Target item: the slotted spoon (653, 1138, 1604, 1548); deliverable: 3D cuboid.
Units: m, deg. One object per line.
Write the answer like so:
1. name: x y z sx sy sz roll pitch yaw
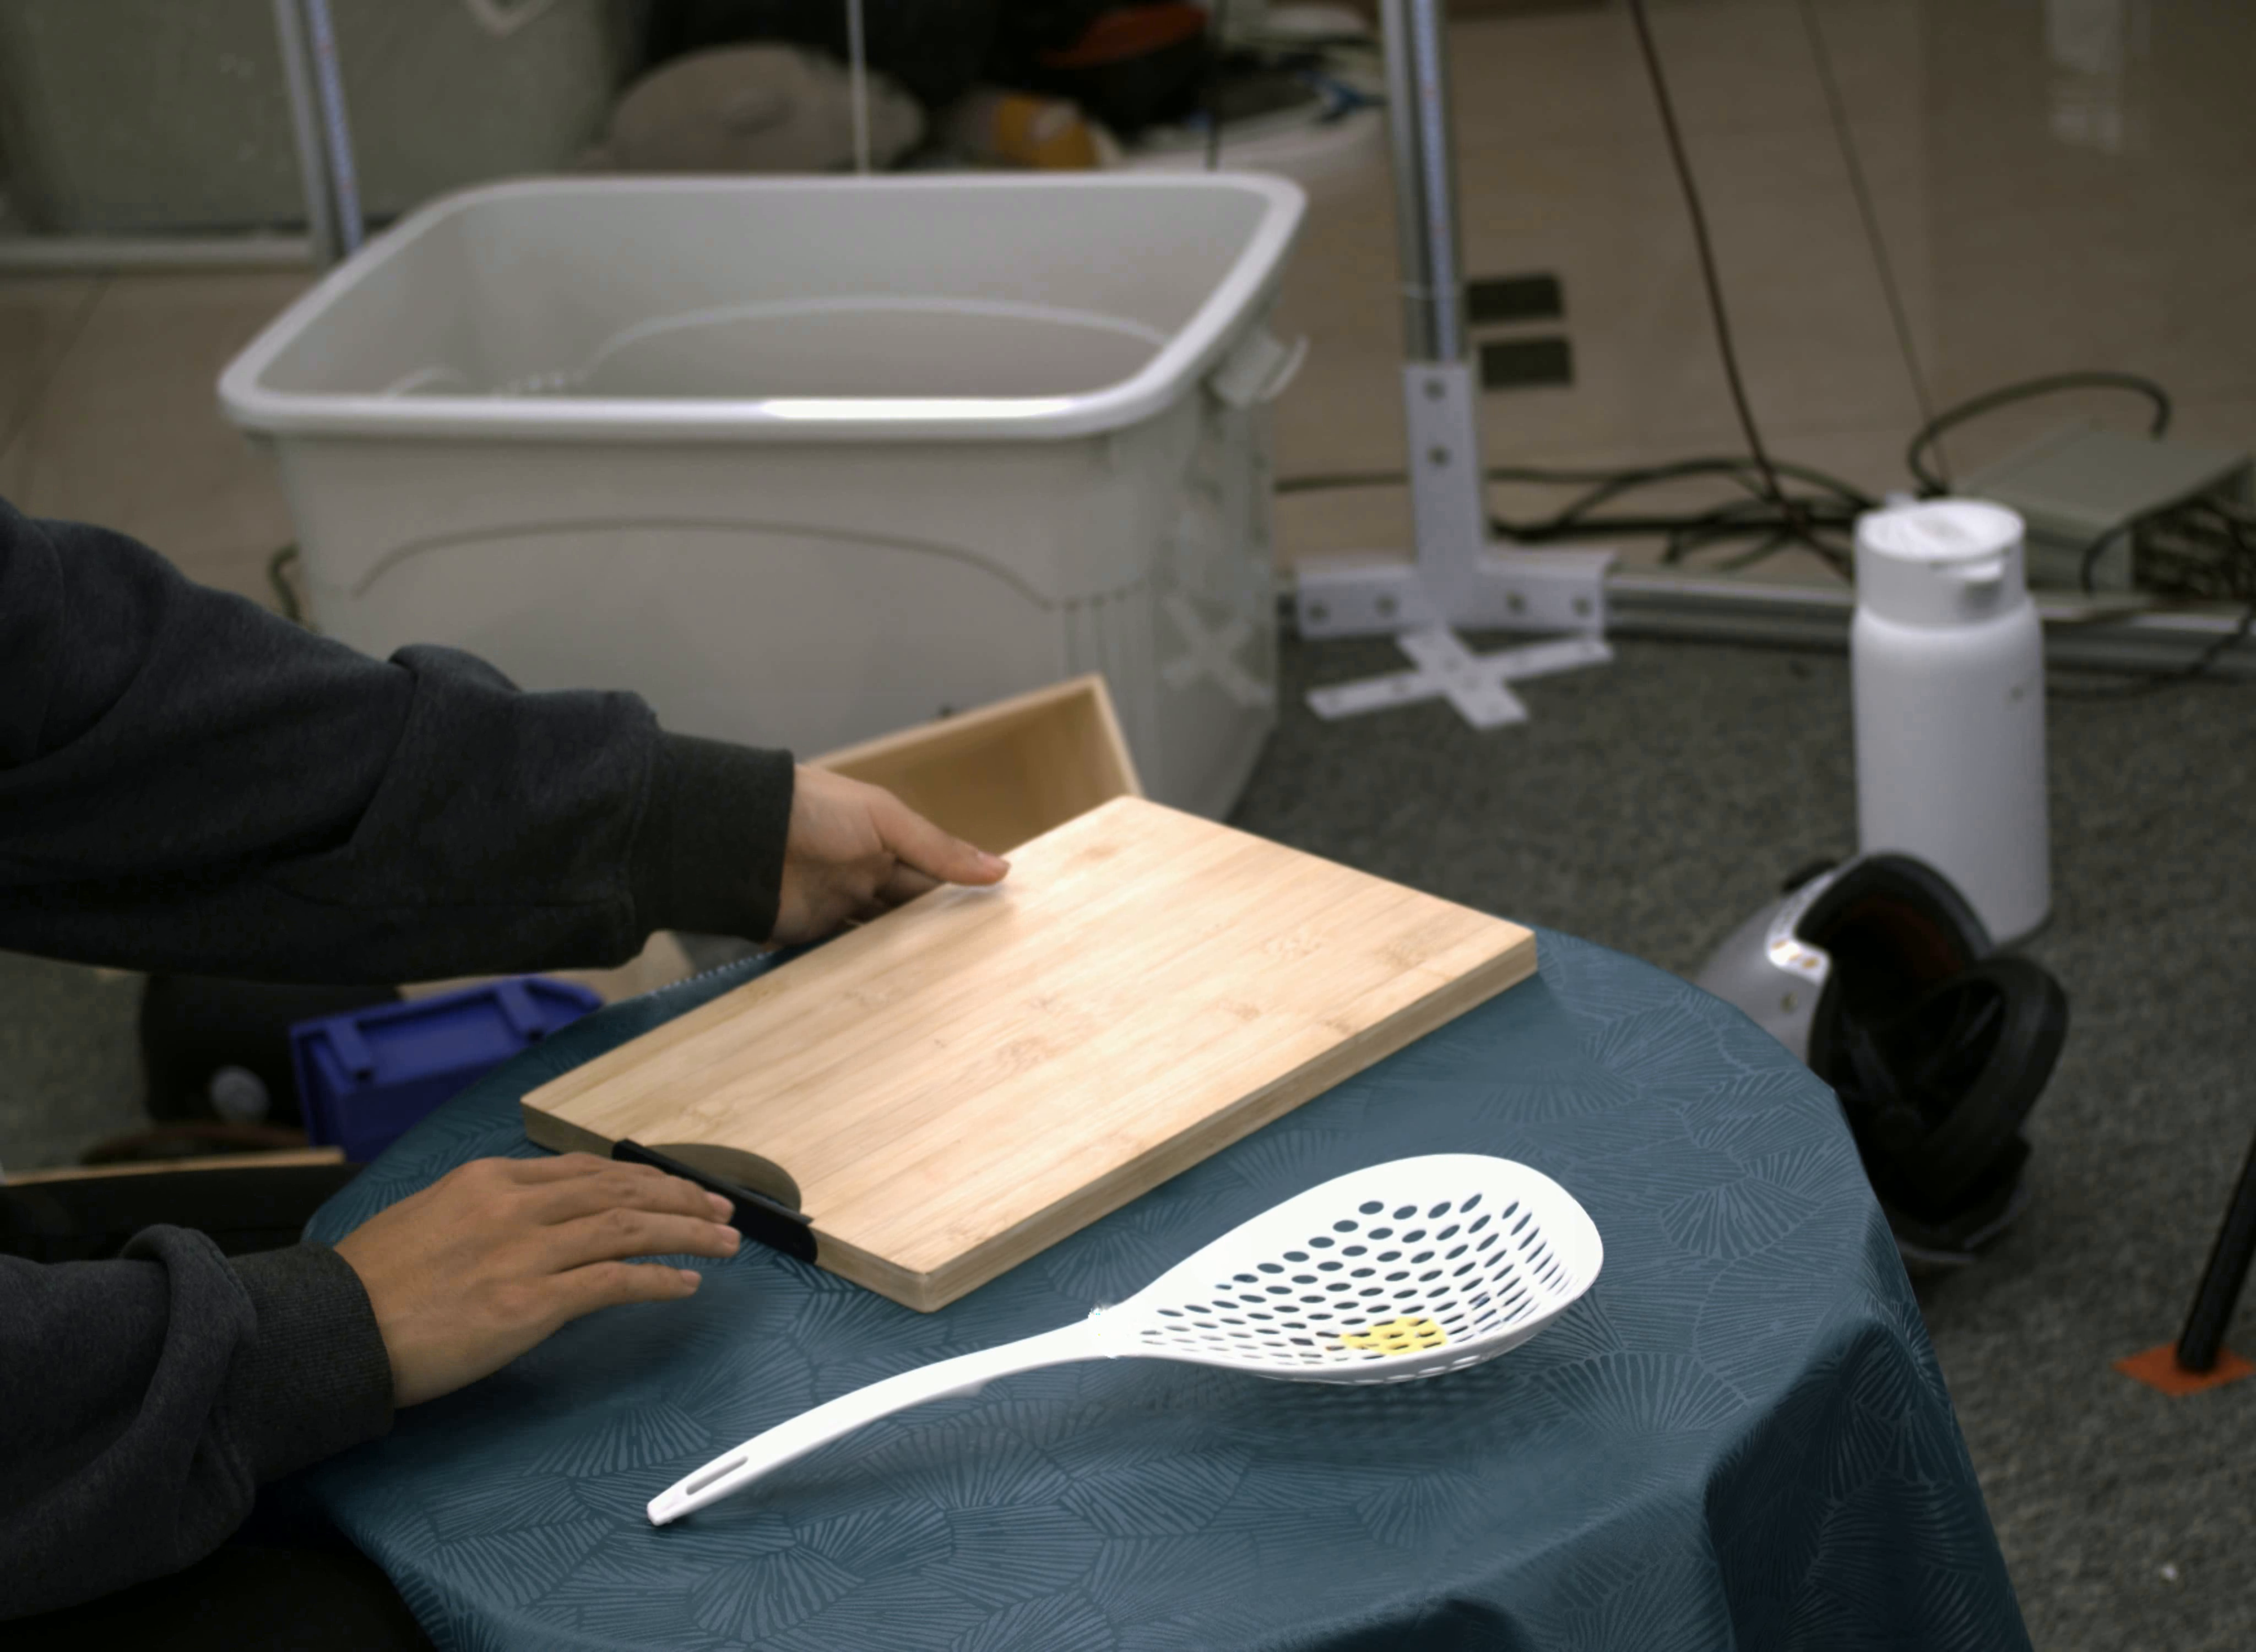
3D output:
1. slotted spoon: -0.002 0.188 1.992 0.347 0.051 0.135 -12 28 -12

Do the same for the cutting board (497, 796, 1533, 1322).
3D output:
1. cutting board: -0.041 0.085 2.252 0.249 0.024 0.345 18 34 42
